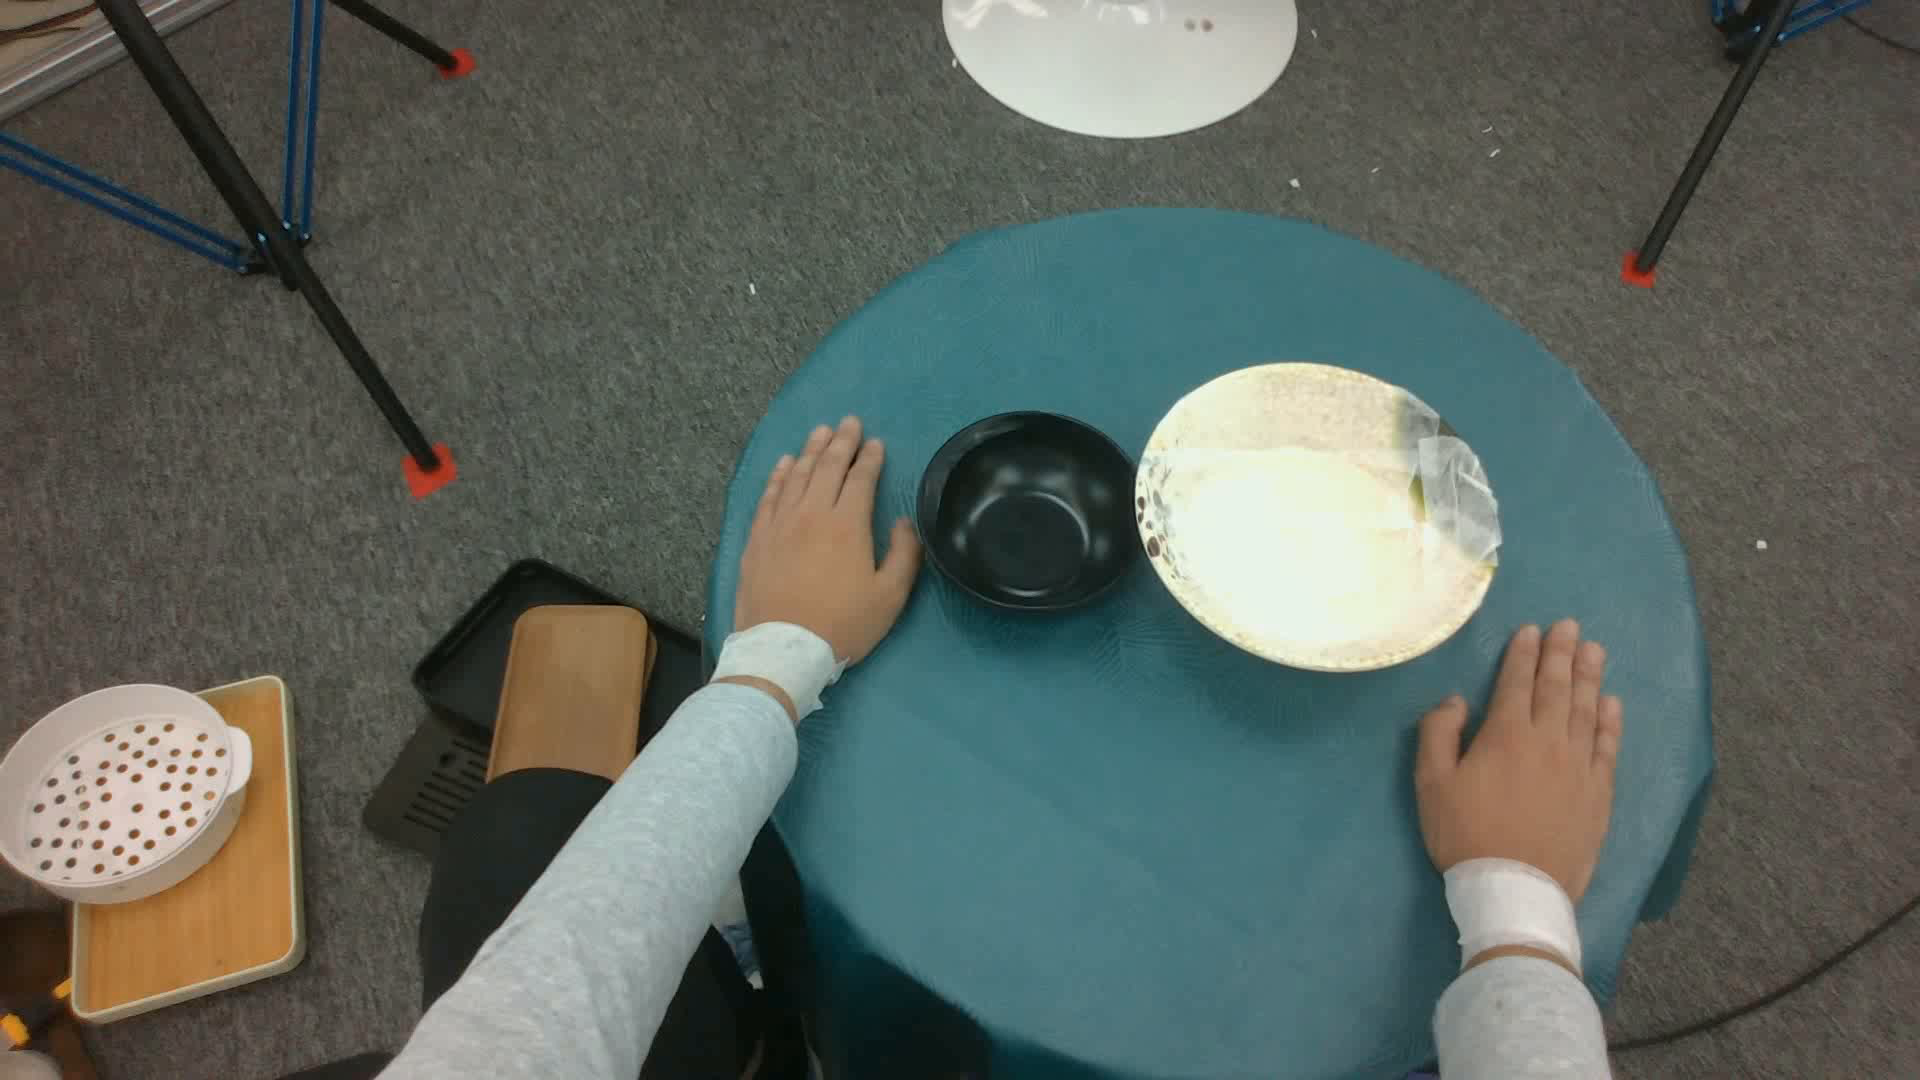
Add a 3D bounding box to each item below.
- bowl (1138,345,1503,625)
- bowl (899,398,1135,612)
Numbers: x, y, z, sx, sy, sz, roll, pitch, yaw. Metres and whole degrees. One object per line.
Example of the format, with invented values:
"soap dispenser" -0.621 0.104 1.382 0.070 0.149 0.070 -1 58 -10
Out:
"bowl" 0.202 -0.016 0.804 0.204 0.077 0.205 1 53 -1
"bowl" 0.034 -0.015 0.831 0.140 0.049 0.140 -1 64 2
